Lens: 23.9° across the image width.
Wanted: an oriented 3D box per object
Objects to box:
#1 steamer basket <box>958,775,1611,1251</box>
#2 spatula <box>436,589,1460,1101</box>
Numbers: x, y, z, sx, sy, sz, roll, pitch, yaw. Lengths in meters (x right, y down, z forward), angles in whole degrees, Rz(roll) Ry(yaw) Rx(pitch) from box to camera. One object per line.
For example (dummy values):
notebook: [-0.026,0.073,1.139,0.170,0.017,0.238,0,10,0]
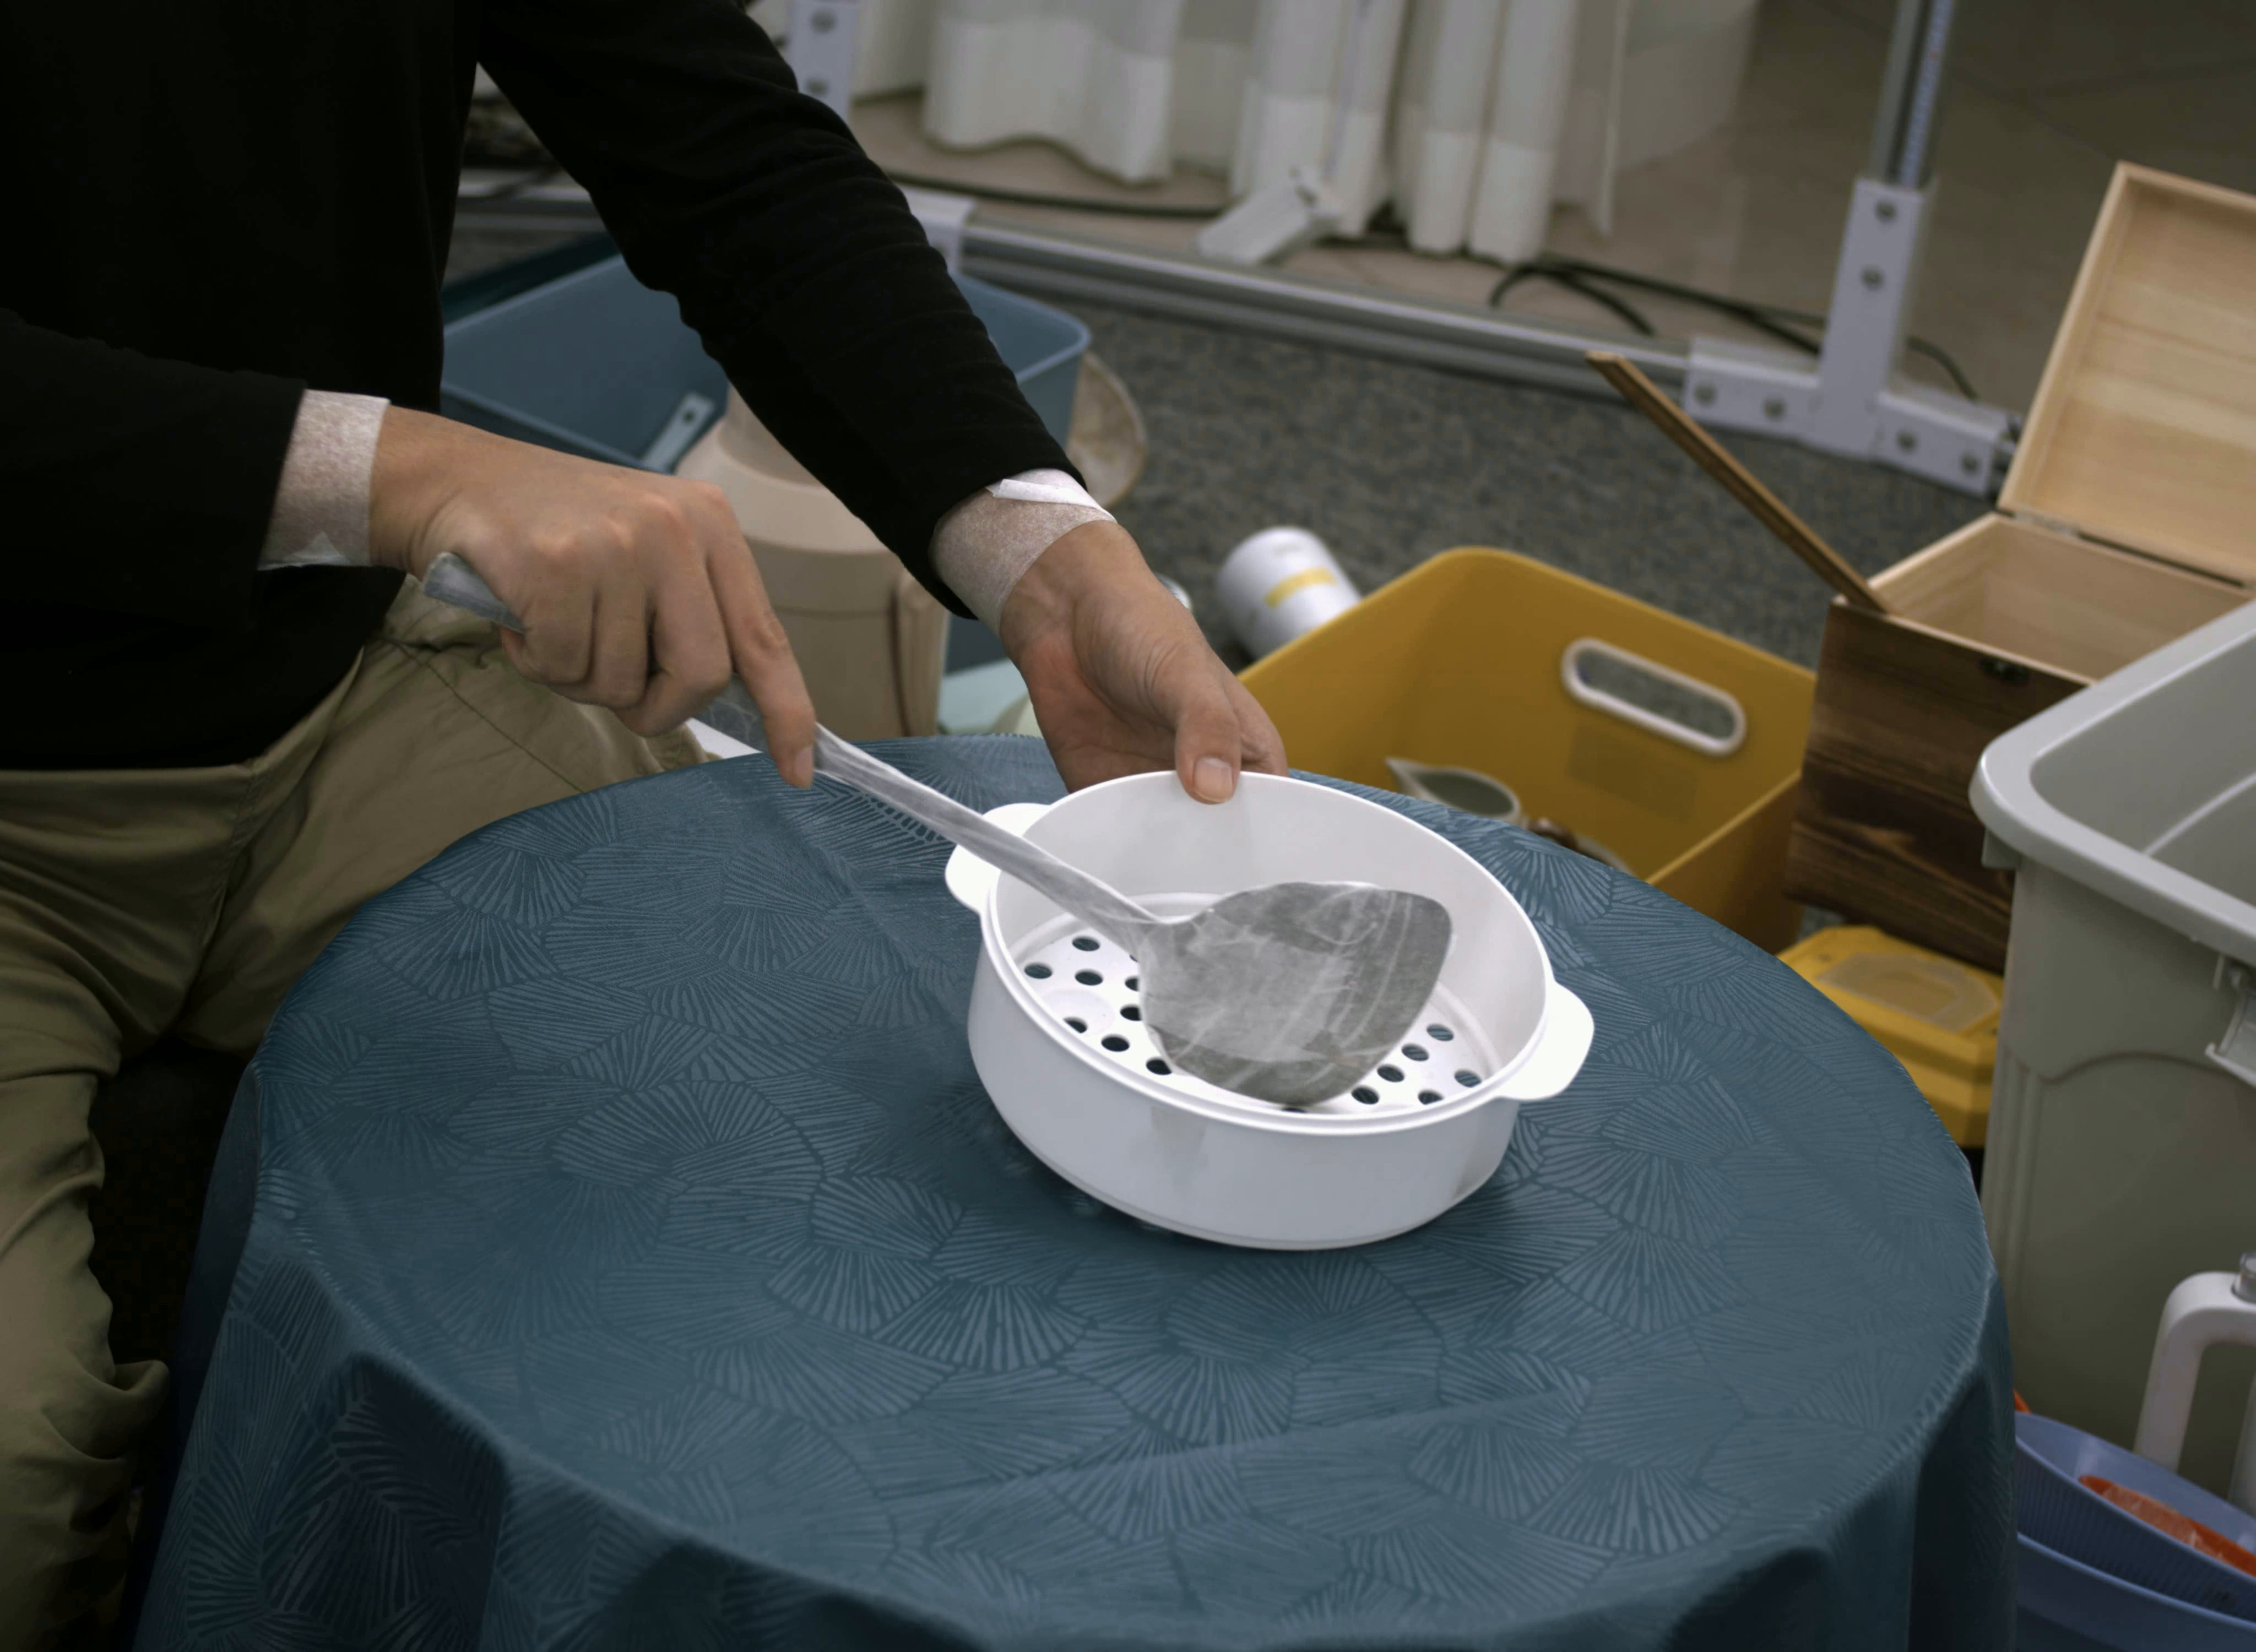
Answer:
steamer basket: [0.048,0.065,1.831,0.231,0.069,0.202,19,34,12]
spatula: [-0.060,-0.004,1.774,0.363,0.098,0.045,28,29,-9]
